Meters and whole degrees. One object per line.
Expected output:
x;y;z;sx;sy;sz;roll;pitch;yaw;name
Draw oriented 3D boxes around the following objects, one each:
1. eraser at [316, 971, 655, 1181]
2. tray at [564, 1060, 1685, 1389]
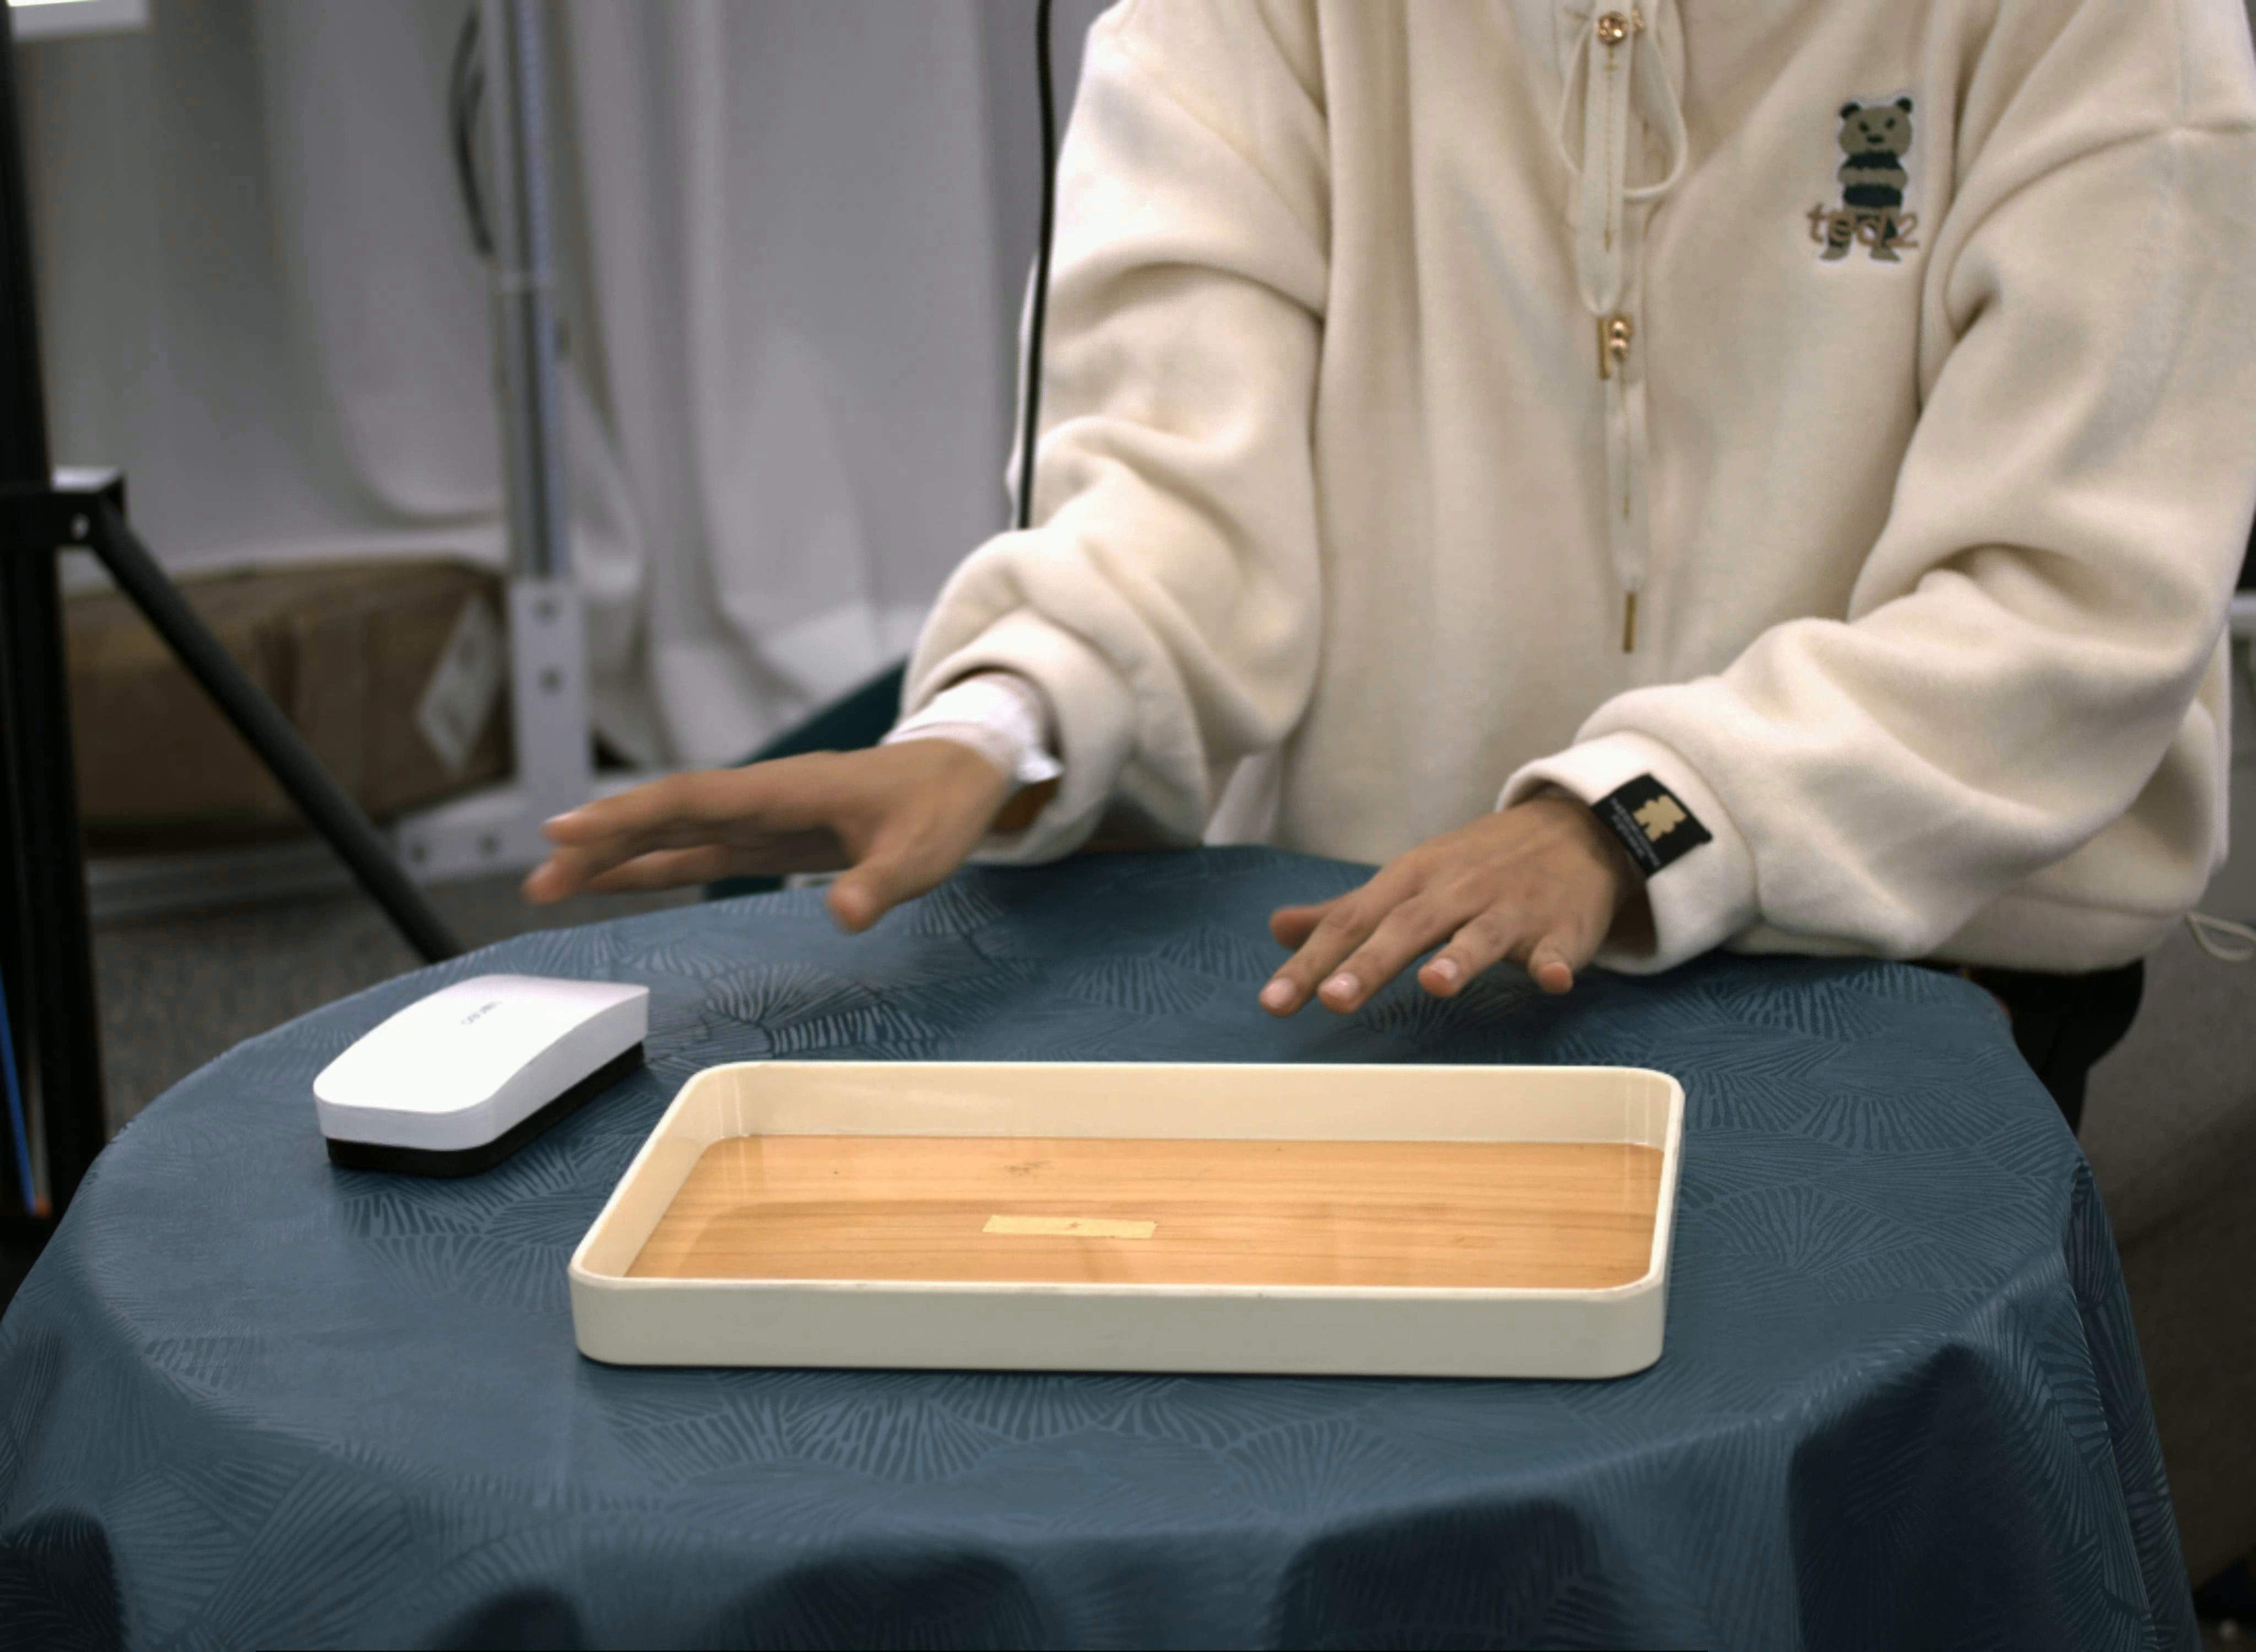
-0.196;0.073;1.656;0.064;0.034;0.129;4;18;23;eraser
0.005;0.110;1.500;0.301;0.027;0.191;0;16;10;tray
